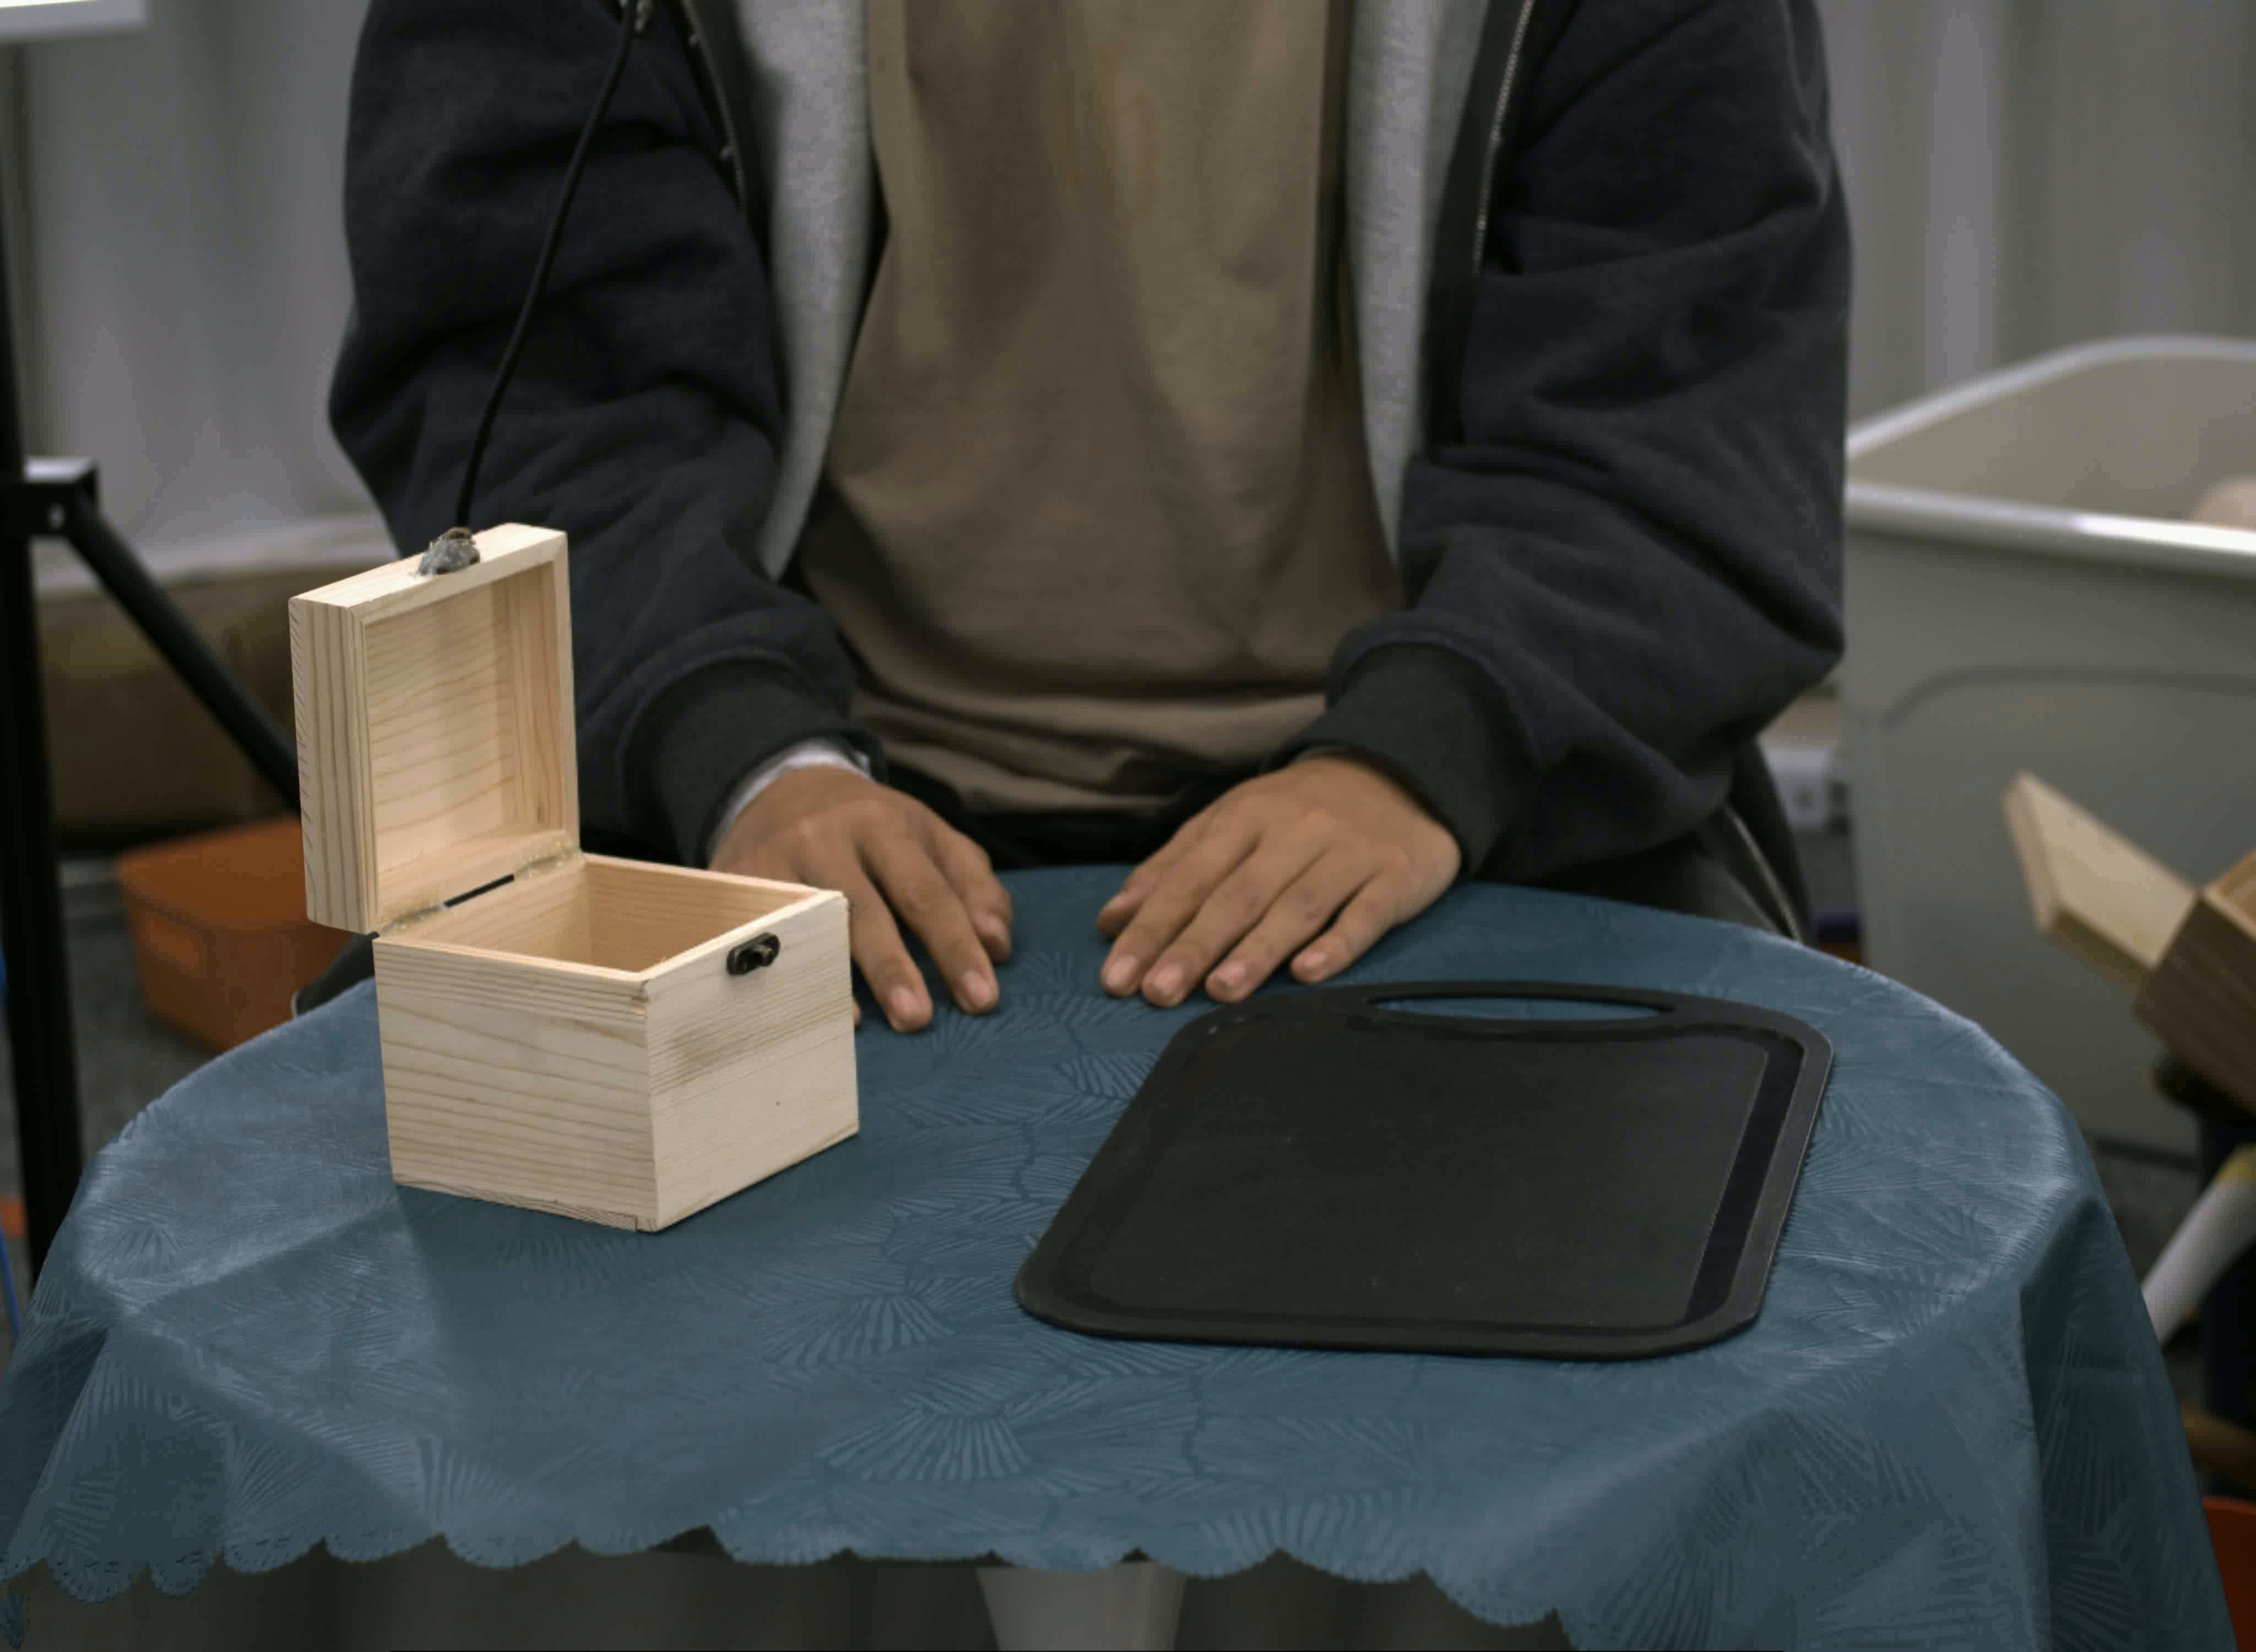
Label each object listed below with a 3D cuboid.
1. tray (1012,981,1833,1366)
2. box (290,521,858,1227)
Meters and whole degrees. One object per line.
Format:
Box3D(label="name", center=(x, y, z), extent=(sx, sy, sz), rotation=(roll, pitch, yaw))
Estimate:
Box3D(label="tray", center=(0.095, 0.095, 1.577), extent=(0.212, 0.010, 0.323), rotation=(2, 16, 14))
Box3D(label="box", center=(-0.162, 0.011, 1.593), extent=(0.136, 0.184, 0.100), rotation=(6, 17, 34))
